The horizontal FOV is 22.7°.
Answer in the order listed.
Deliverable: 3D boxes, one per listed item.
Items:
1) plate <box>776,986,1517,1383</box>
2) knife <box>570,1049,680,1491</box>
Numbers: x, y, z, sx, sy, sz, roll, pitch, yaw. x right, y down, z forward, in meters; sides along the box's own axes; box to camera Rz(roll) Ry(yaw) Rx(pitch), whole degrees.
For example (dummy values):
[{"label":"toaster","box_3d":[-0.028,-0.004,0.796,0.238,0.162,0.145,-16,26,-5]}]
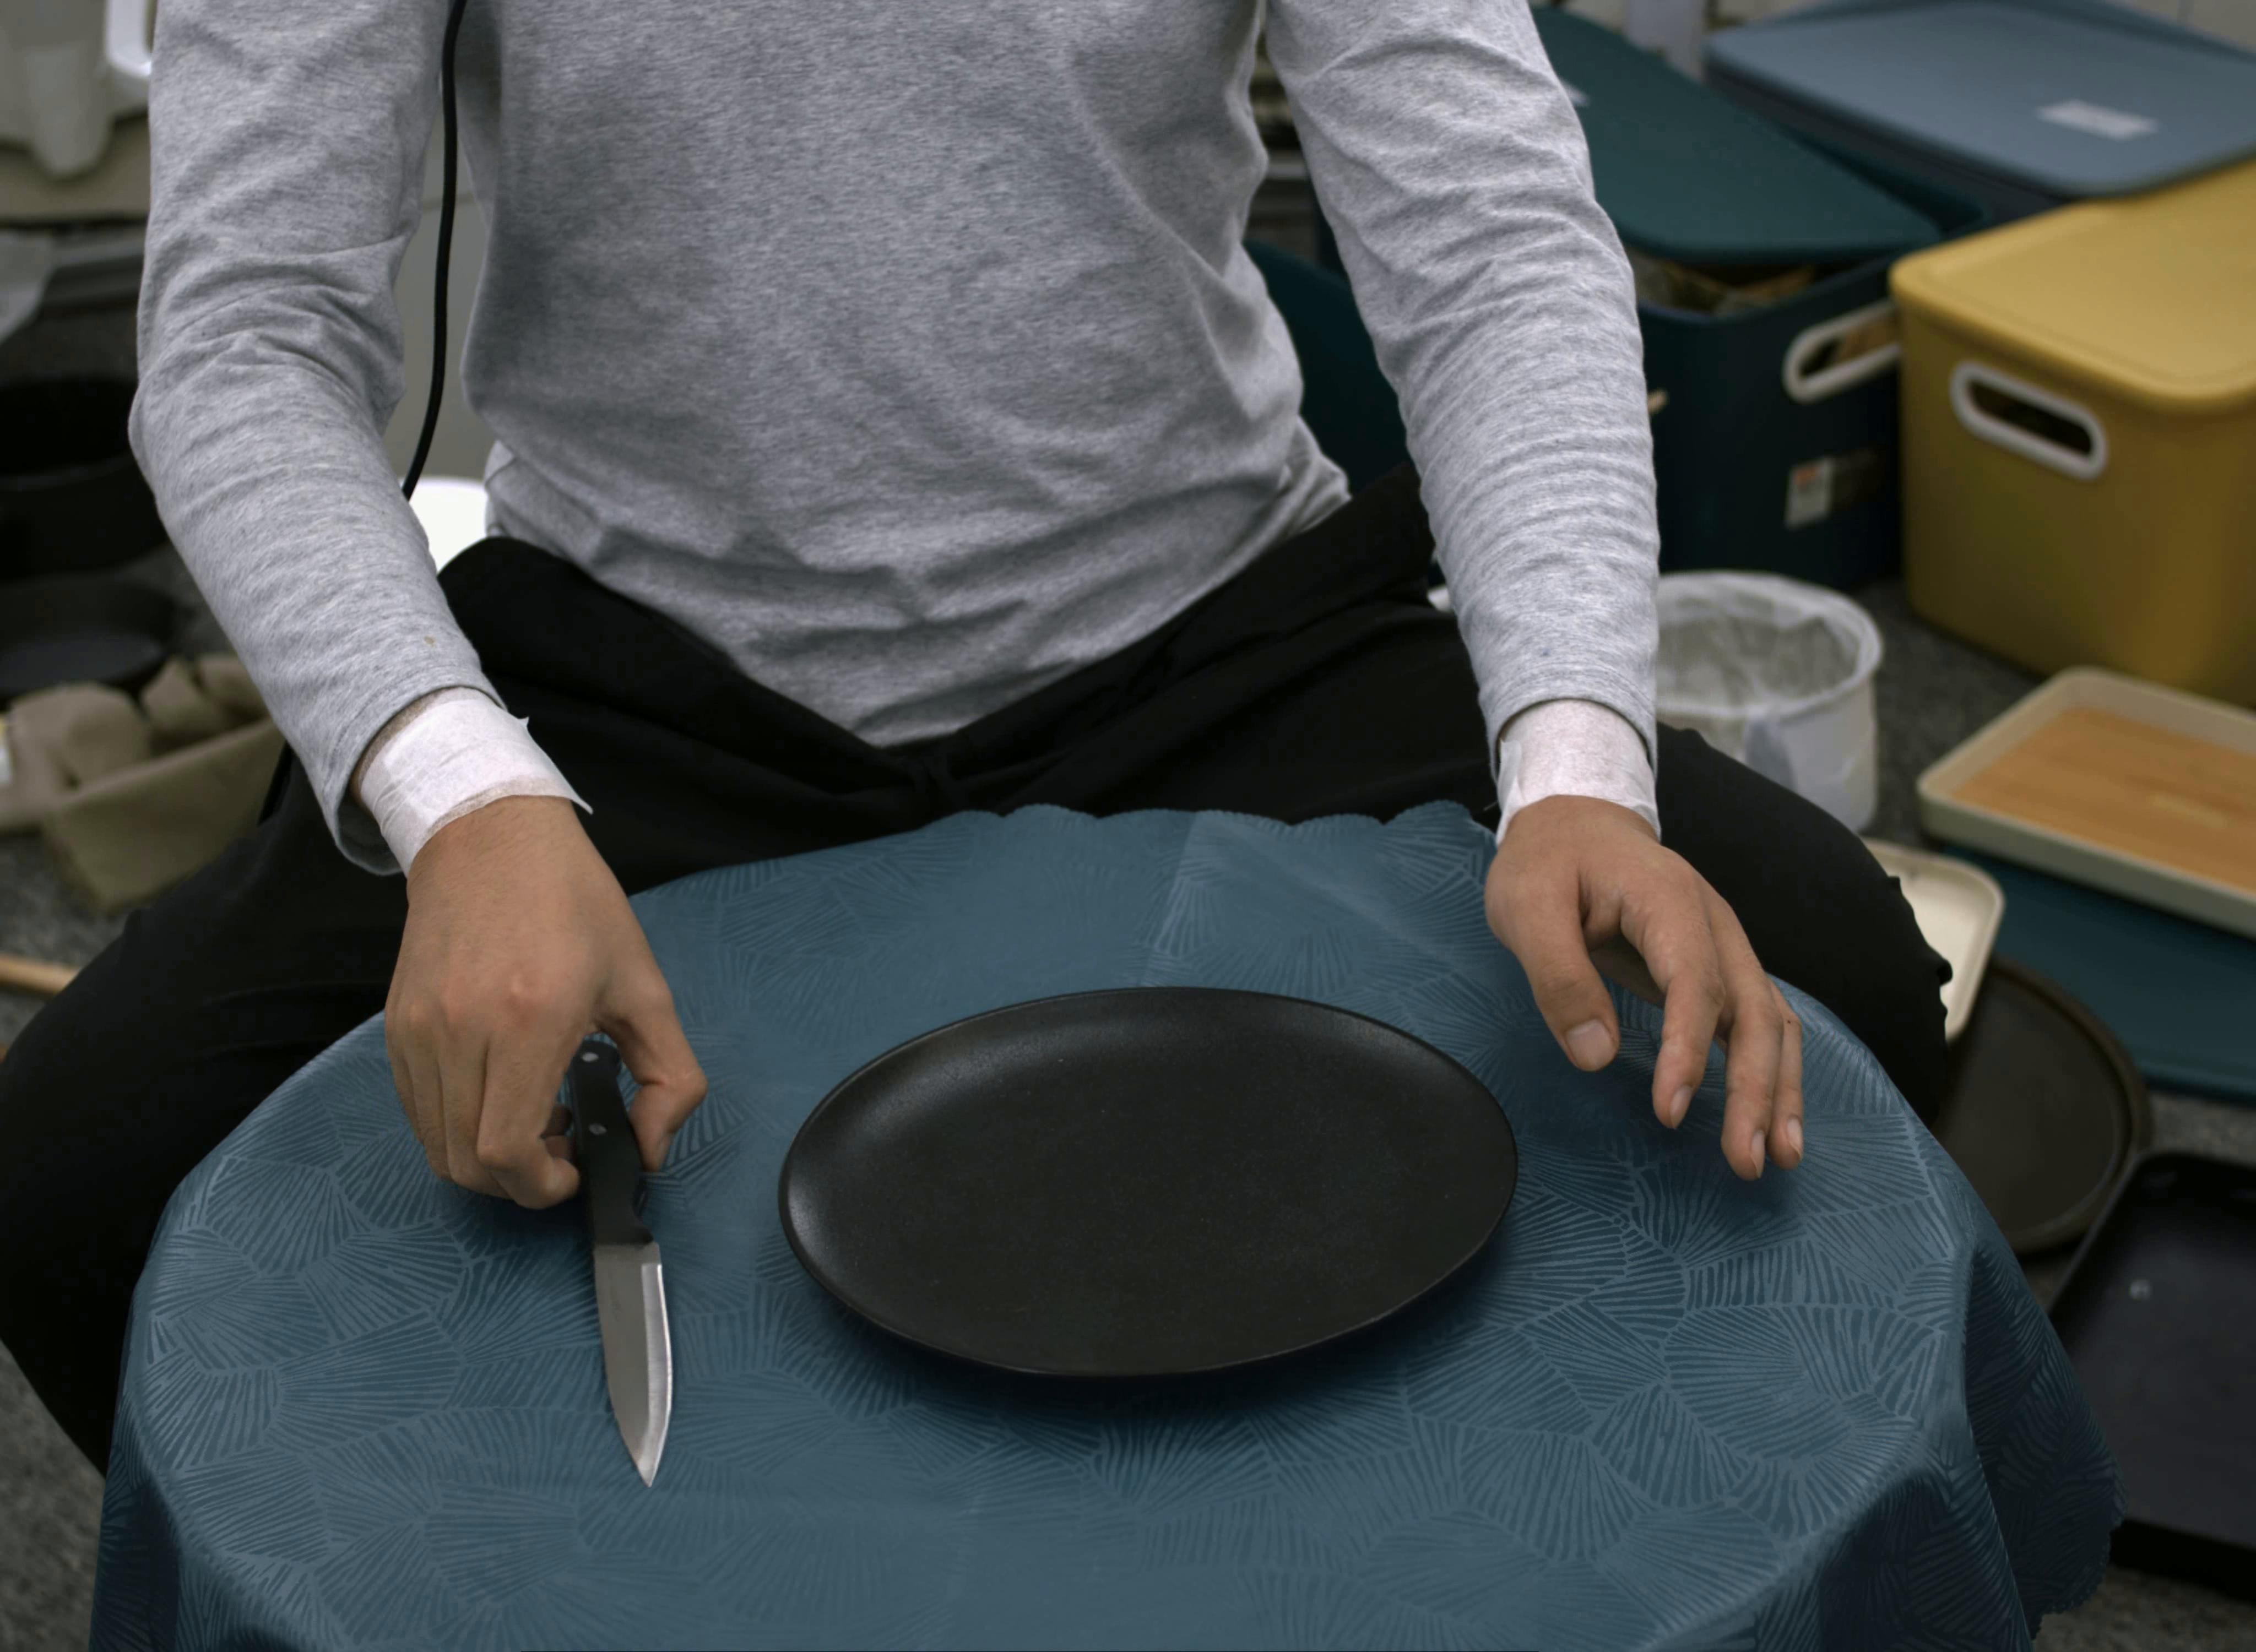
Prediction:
[{"label":"plate","box_3d":[0.006,0.121,1.838,0.243,0.023,0.248,-2,27,1]},{"label":"knife","box_3d":[-0.164,0.143,1.818,0.024,0.016,0.241,-6,32,-7]}]
